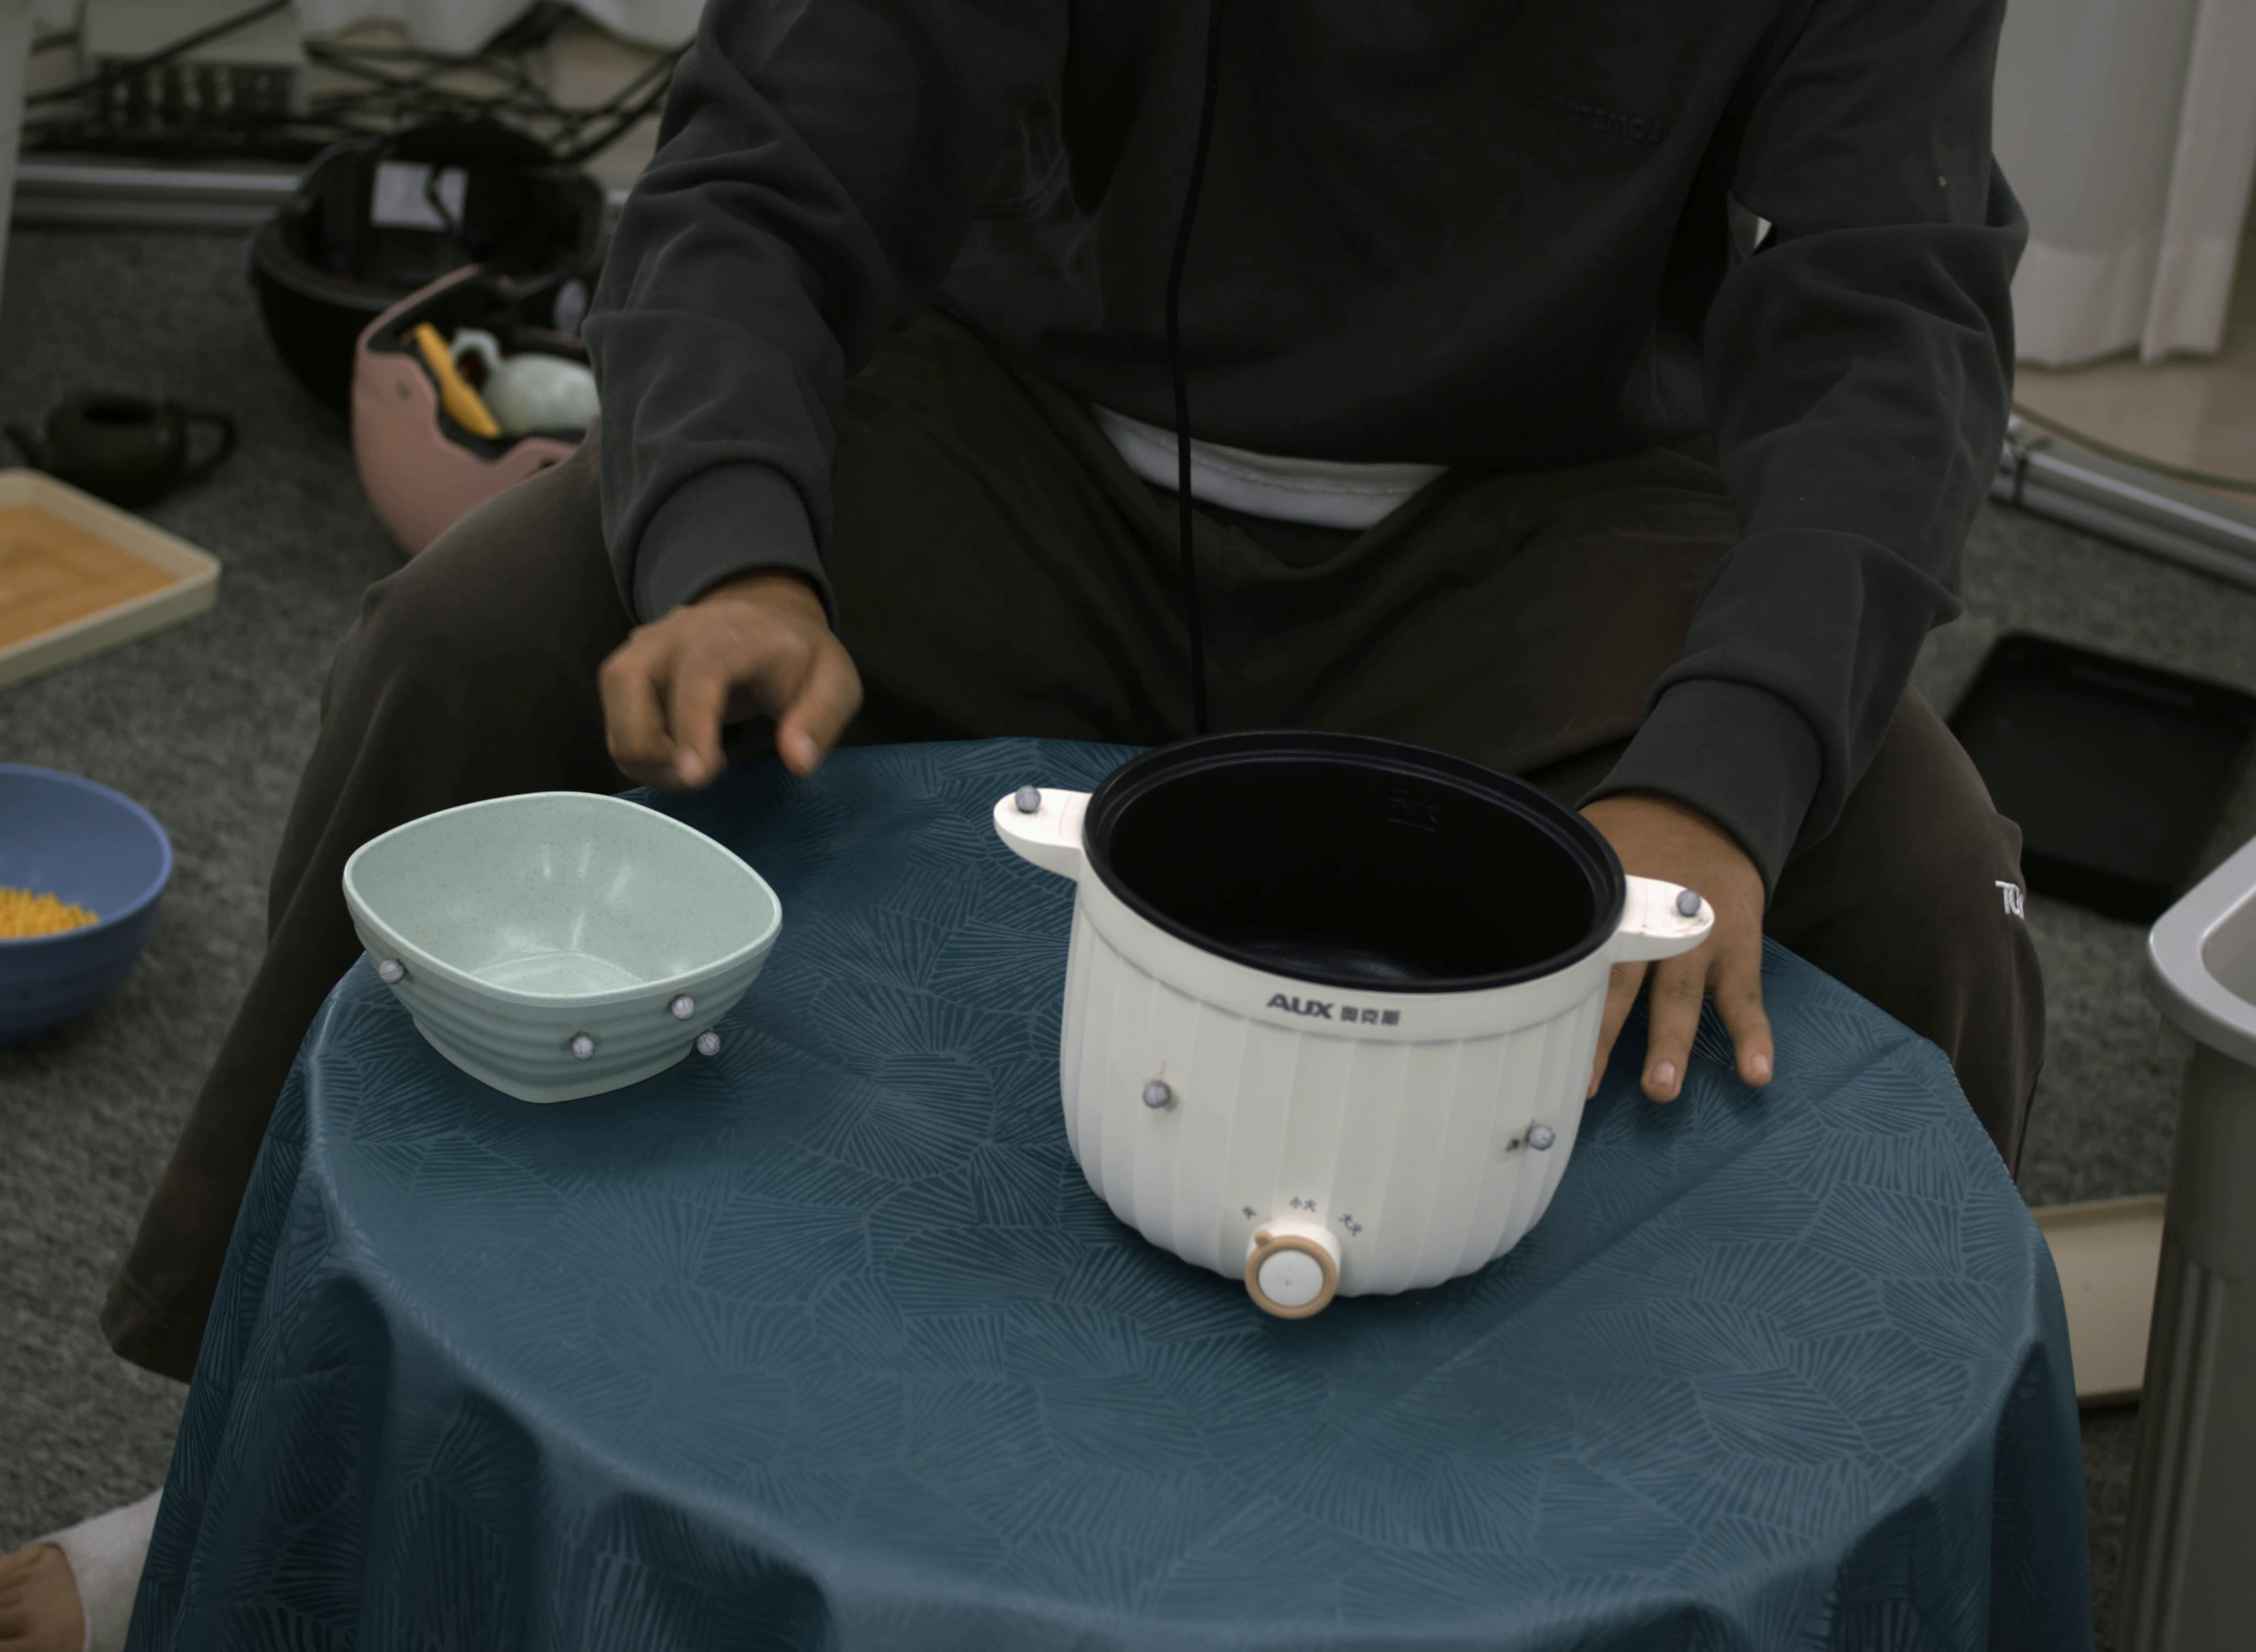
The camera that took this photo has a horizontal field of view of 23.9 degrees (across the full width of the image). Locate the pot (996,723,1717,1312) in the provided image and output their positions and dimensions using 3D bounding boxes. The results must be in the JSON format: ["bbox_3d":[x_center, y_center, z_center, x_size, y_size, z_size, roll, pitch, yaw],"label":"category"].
[{"bbox_3d":[0.070,0.067,1.779,0.240,0.142,0.191,6,23,2],"label":"pot"}]

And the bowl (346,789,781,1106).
[{"bbox_3d":[-0.198,0.048,1.848,0.151,0.058,0.152,6,28,-4],"label":"bowl"}]
